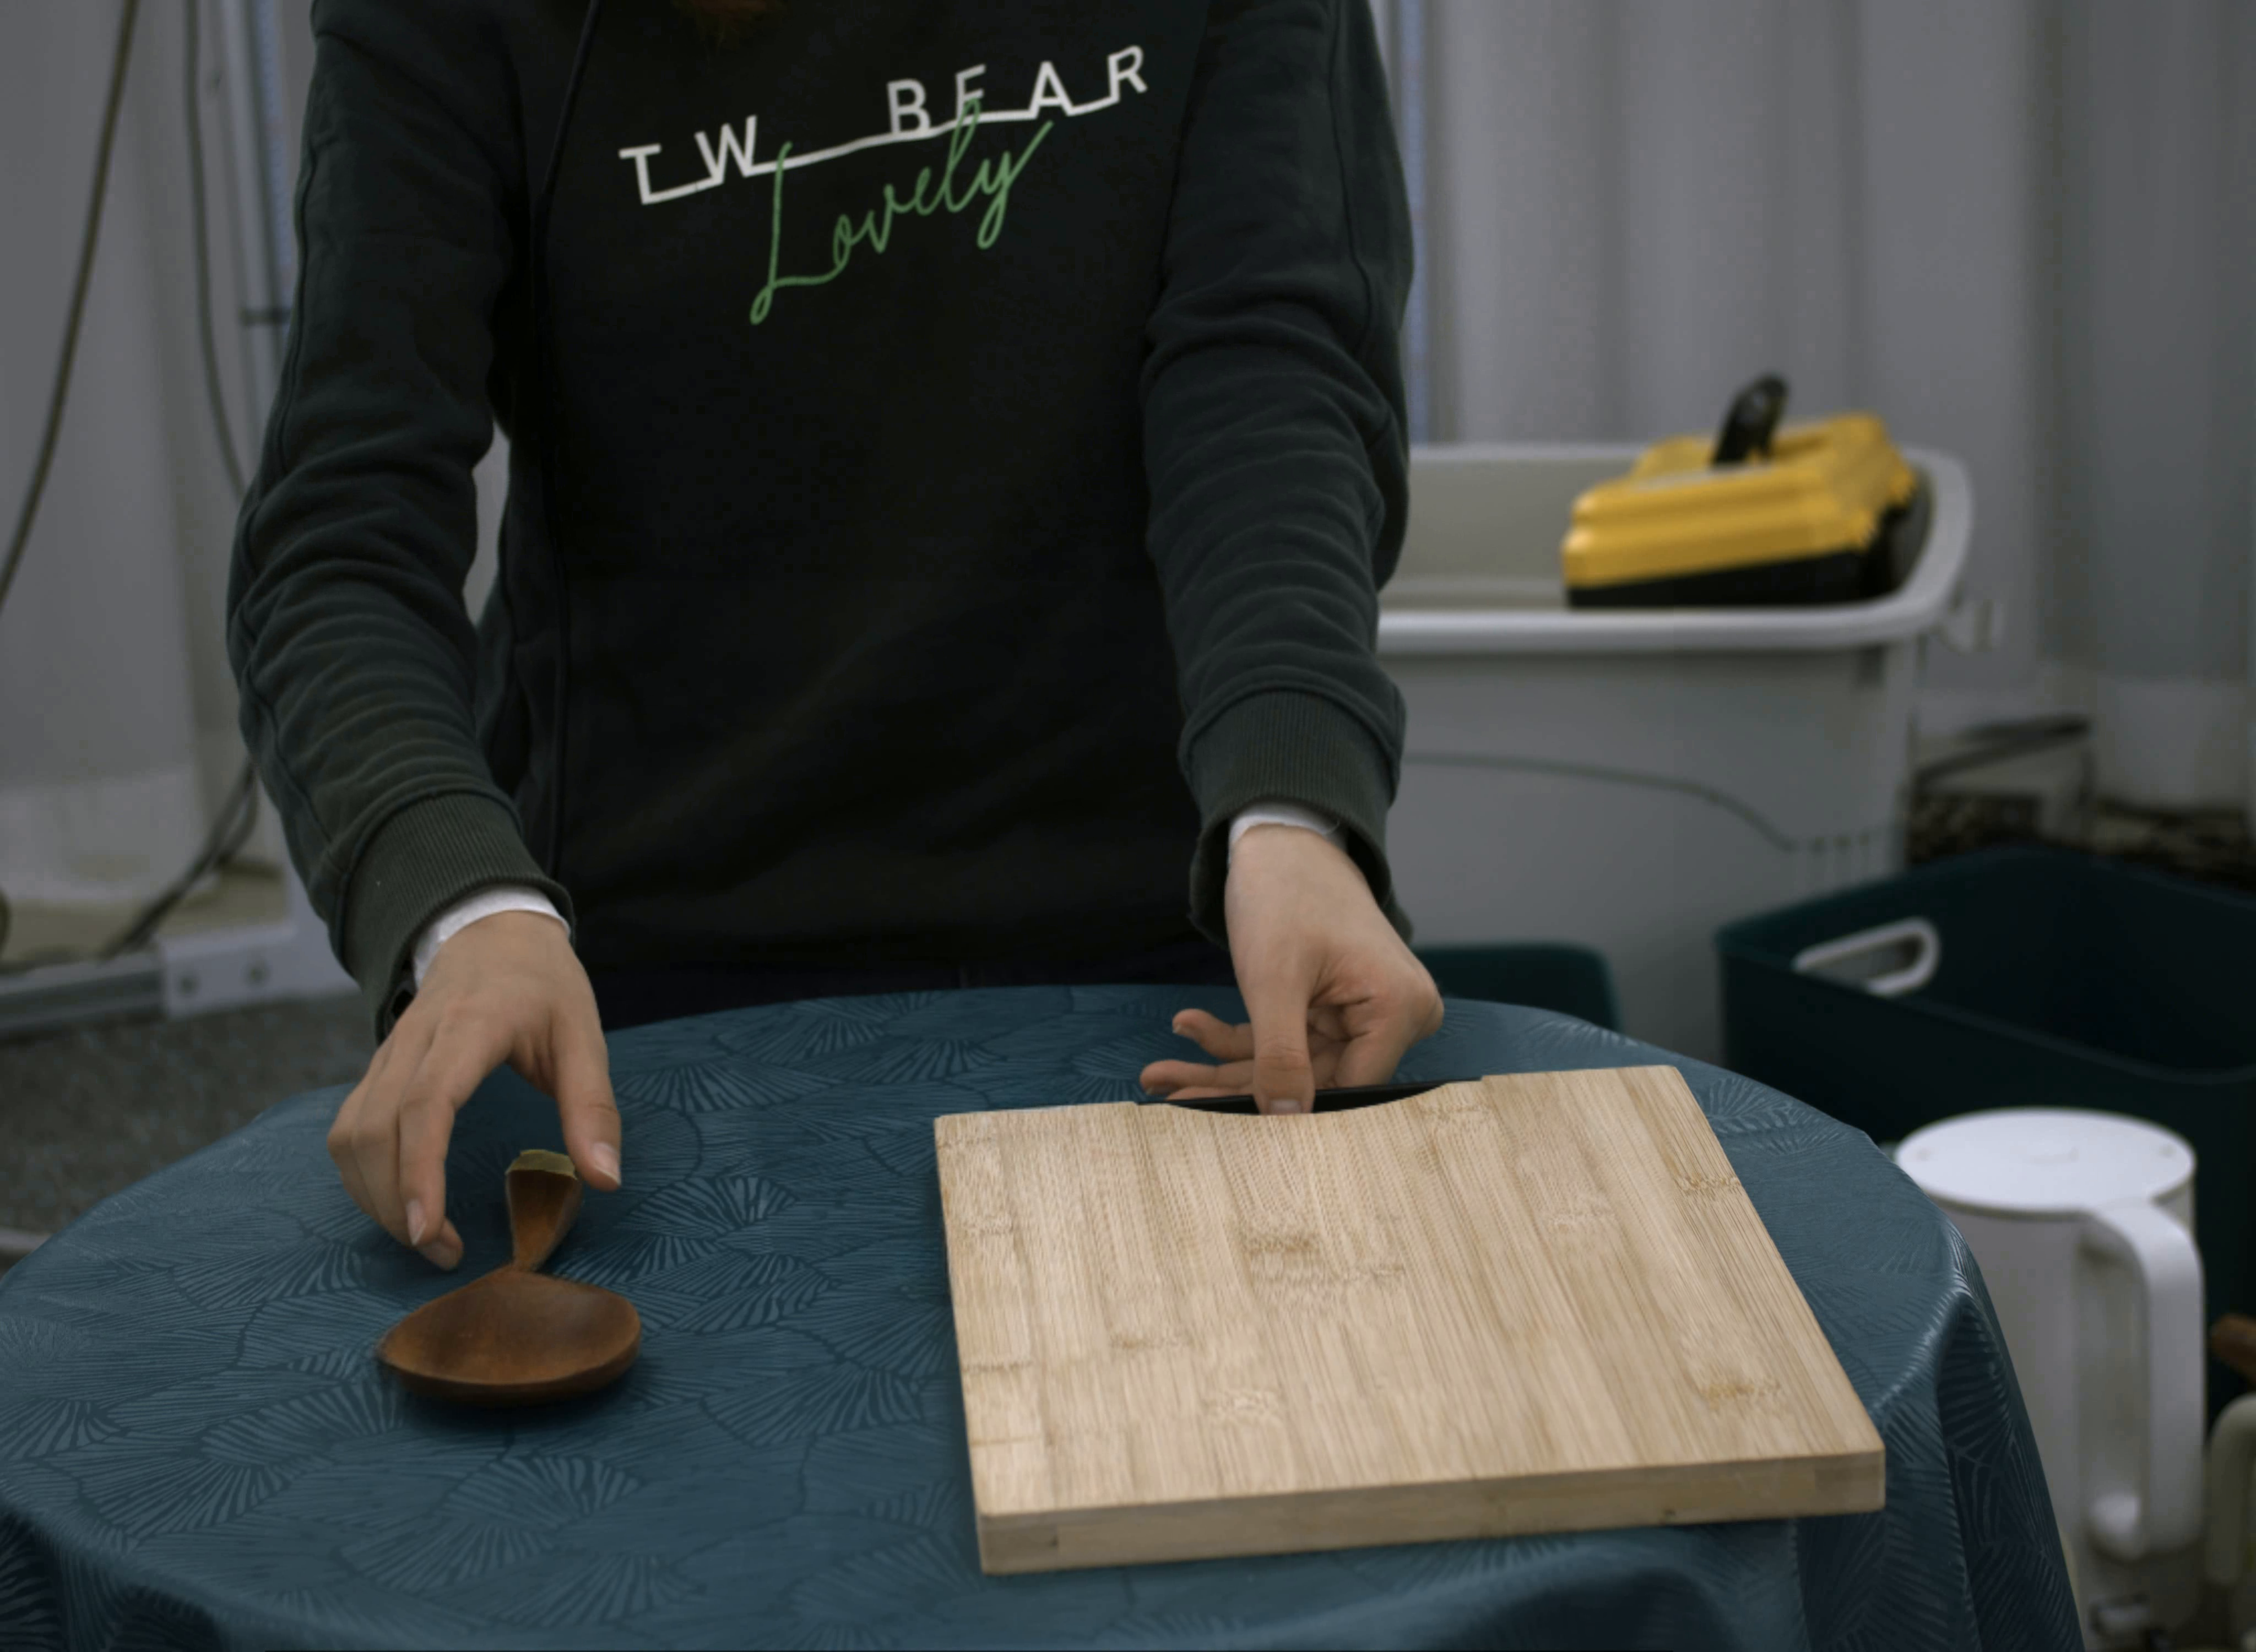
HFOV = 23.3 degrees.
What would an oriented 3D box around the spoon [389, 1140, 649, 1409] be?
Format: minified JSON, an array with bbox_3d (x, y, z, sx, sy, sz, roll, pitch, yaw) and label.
[{"bbox_3d":[-0.178,0.135,1.637,0.075,0.017,0.217,-5,16,-2],"label":"spoon"}]

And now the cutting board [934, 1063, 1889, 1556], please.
[{"bbox_3d":[0.069,0.135,1.593,0.250,0.023,0.351,-3,15,-4],"label":"cutting board"}]
